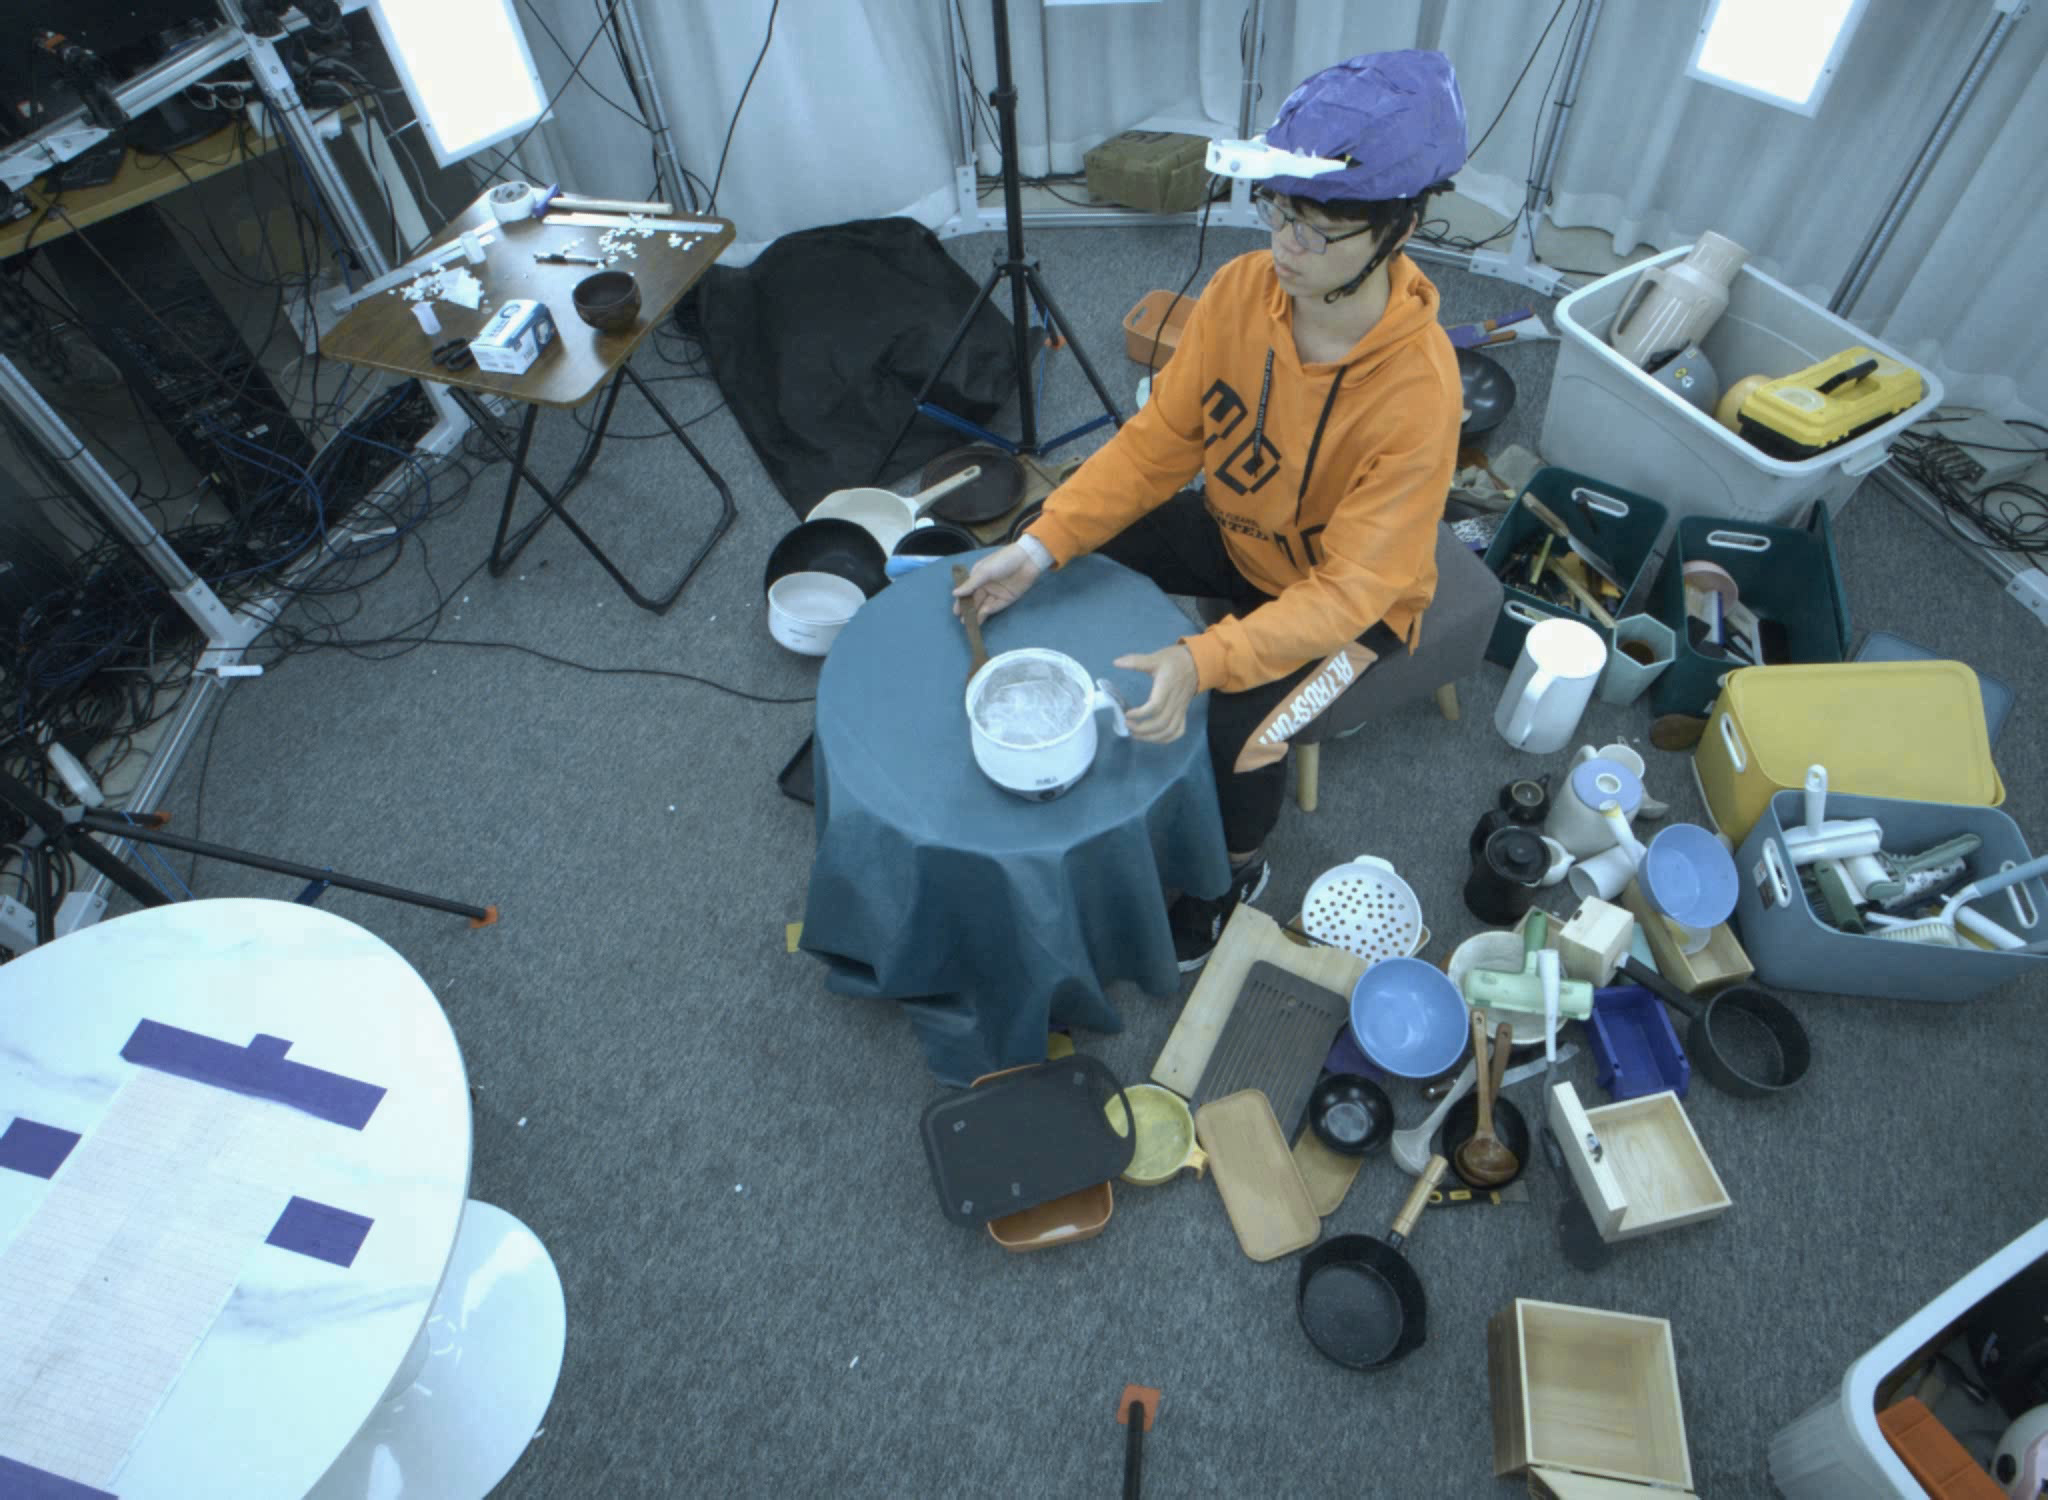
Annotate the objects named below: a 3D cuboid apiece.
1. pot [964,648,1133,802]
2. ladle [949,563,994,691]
[{"bbox_3d":[0.038,-0.041,1.730,0.235,0.138,0.176,-13,56,-6],"label":"pot"},{"bbox_3d":[-0.081,-0.199,1.877,0.076,0.072,0.270,-11,62,-6],"label":"ladle"}]
